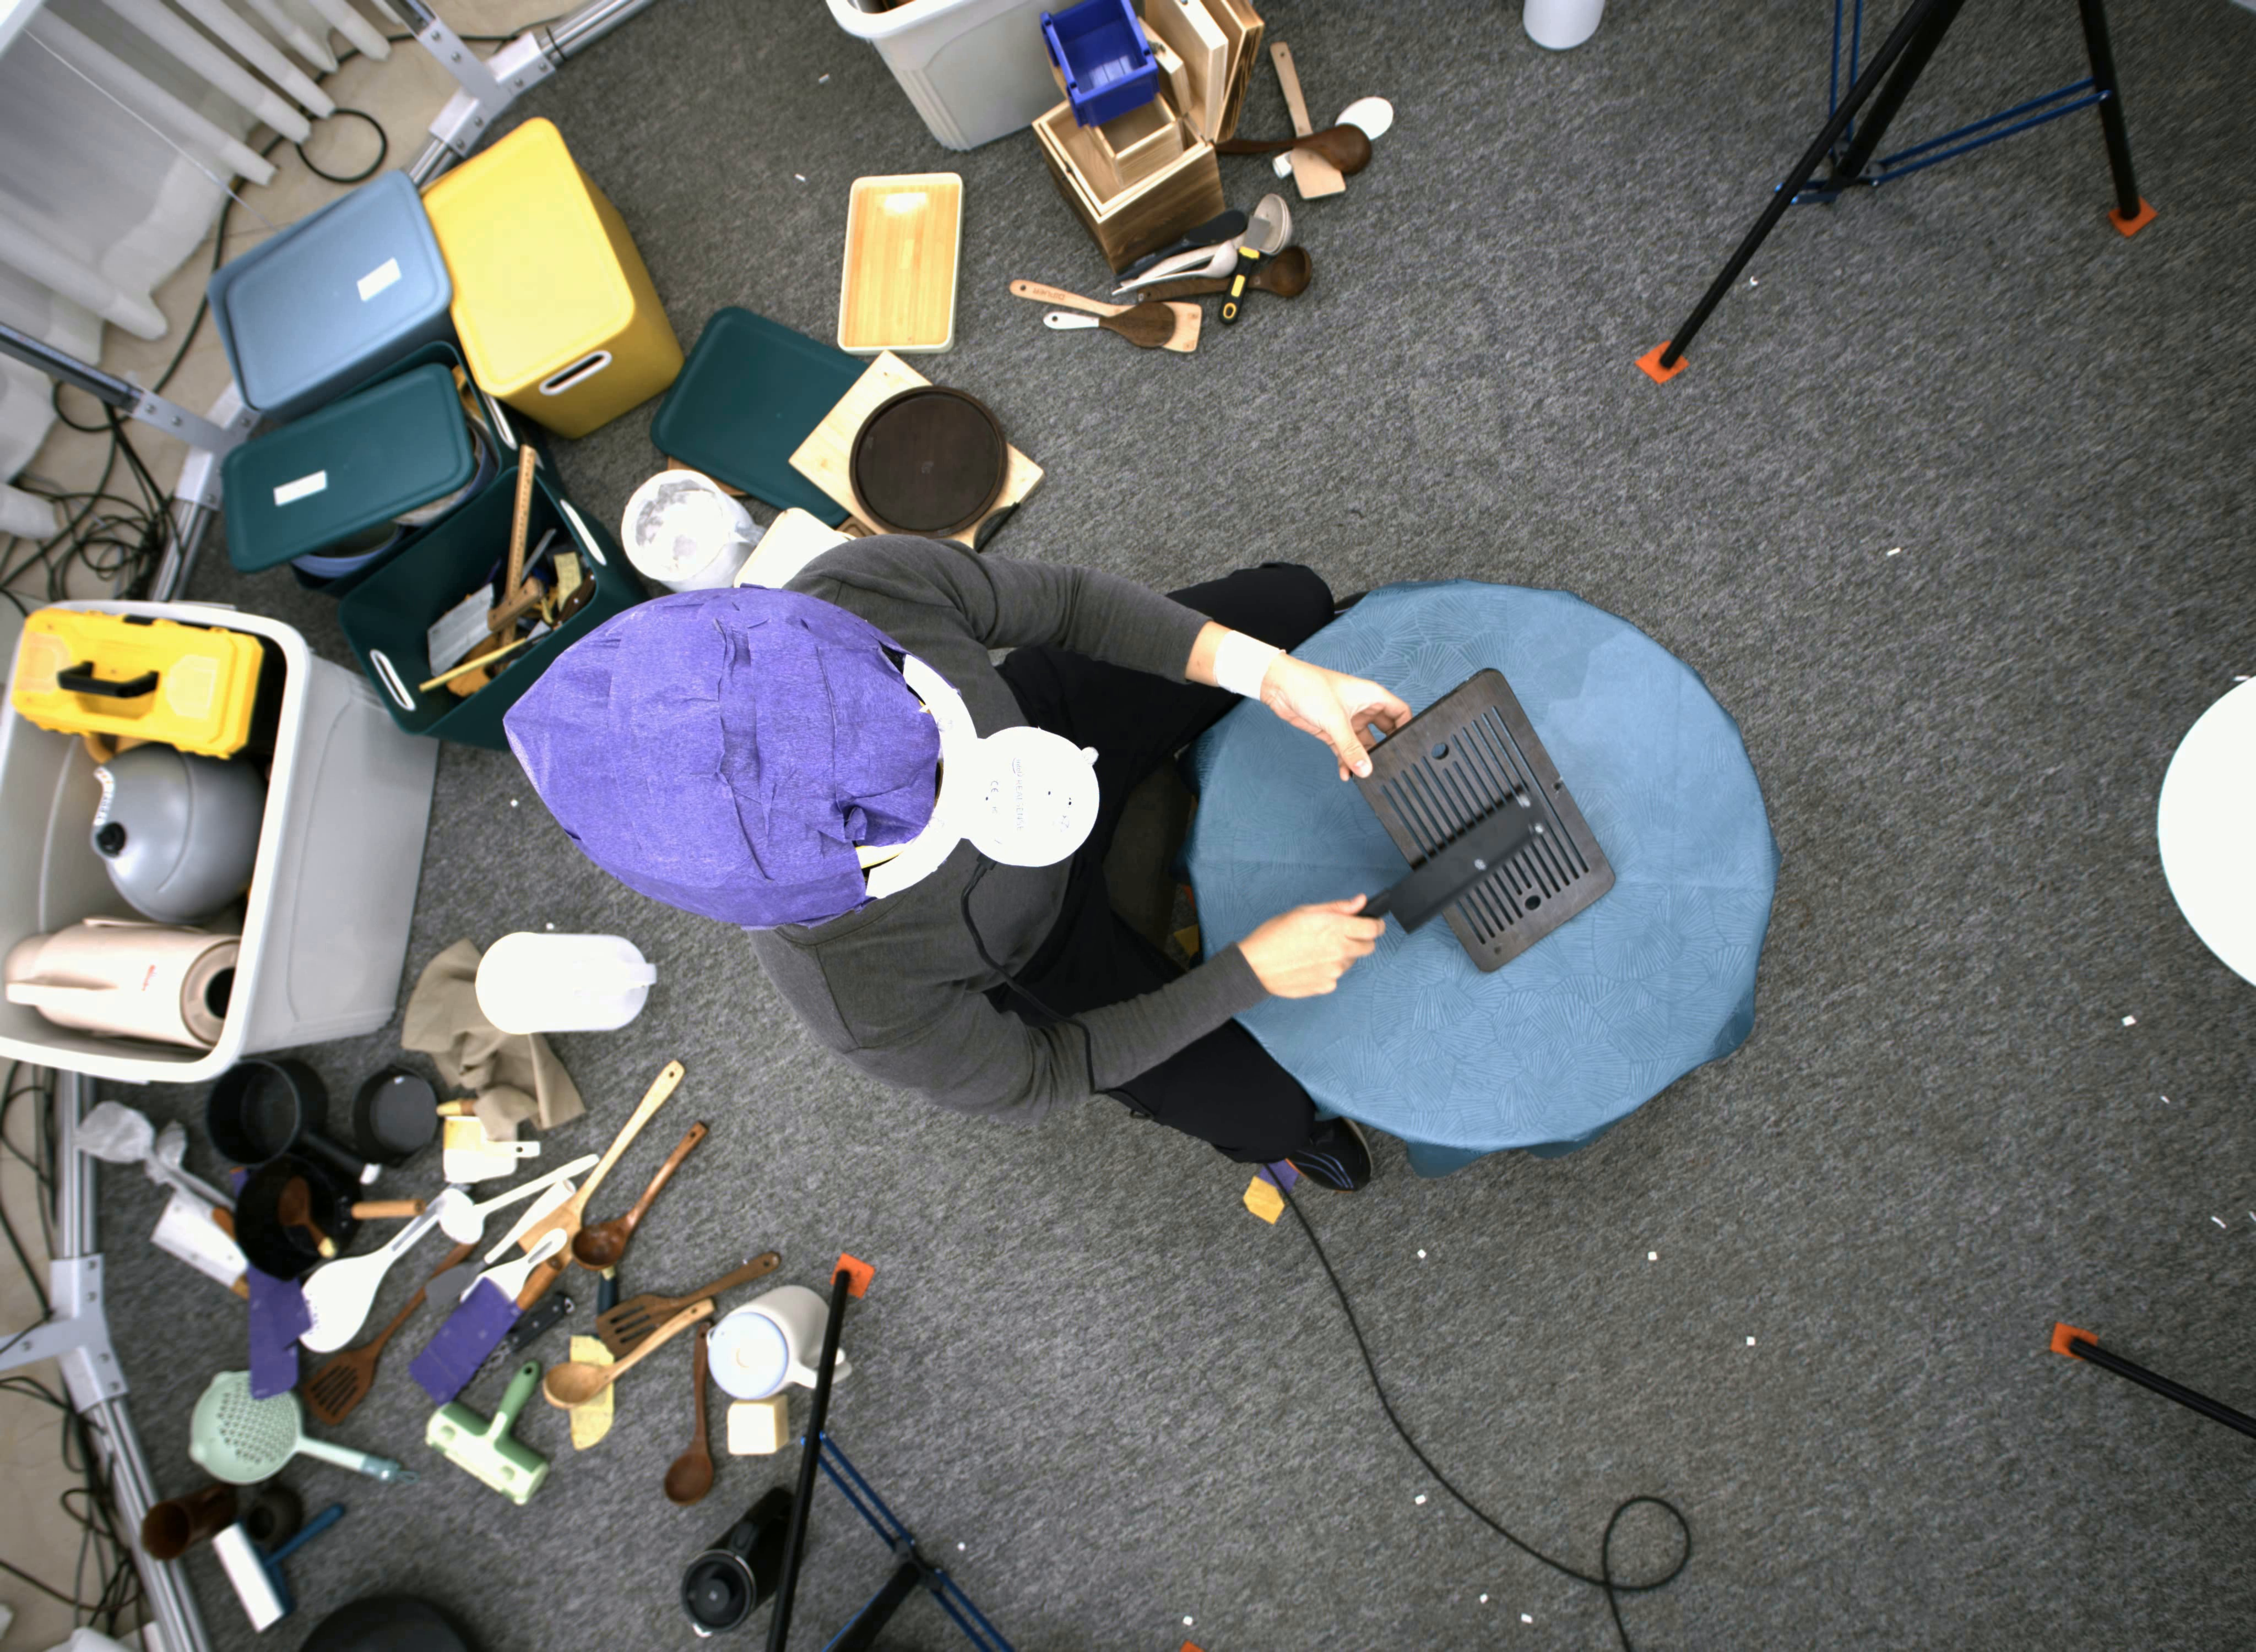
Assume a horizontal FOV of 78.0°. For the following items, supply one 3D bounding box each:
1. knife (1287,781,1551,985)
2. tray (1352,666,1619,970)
[{"bbox_3d":[0.283,0.062,1.355,0.304,0.020,0.082,-34,124,6],"label":"knife"},{"bbox_3d":[0.355,-0.004,1.349,0.171,0.018,0.310,-35,119,7],"label":"tray"}]
